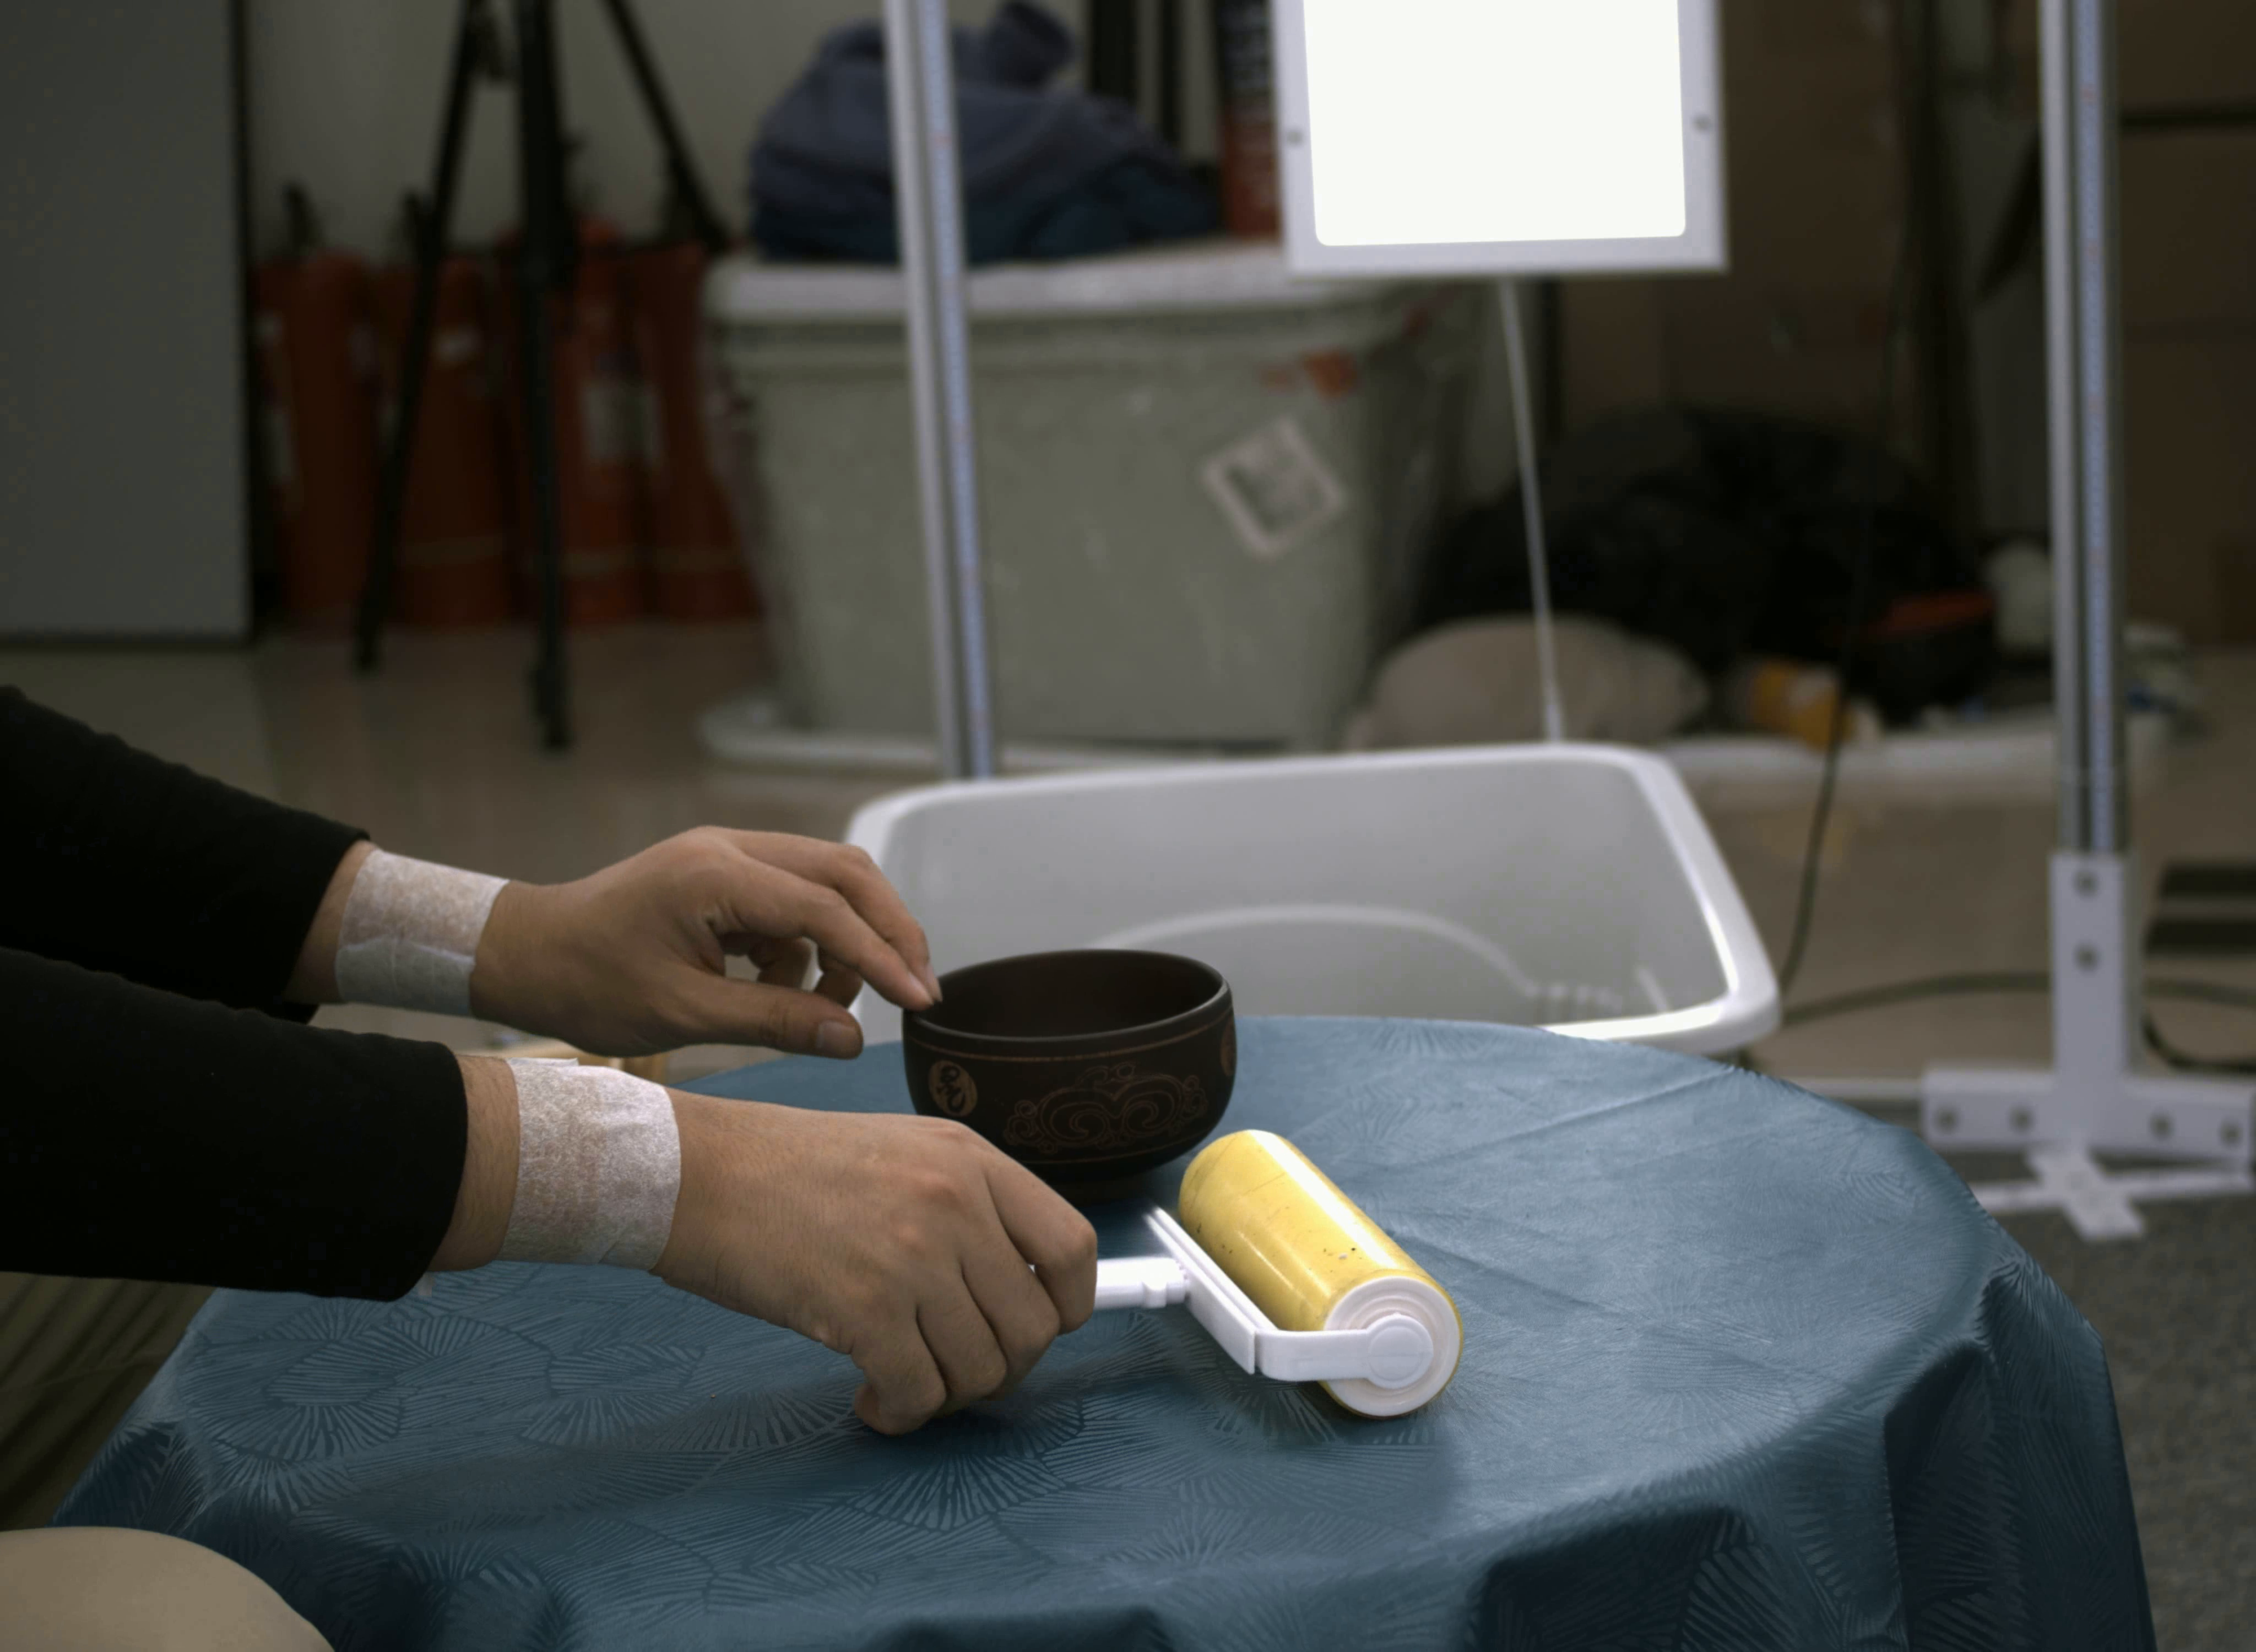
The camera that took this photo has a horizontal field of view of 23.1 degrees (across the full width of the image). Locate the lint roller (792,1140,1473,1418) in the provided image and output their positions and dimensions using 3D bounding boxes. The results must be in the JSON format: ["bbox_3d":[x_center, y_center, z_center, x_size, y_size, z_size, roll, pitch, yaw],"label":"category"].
[{"bbox_3d":[-0.009,0.136,1.708,0.189,0.052,0.176,6,10,-17],"label":"lint roller"}]

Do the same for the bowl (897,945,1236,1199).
[{"bbox_3d":[-0.020,0.088,1.905,0.118,0.070,0.118,-4,13,0],"label":"bowl"}]
